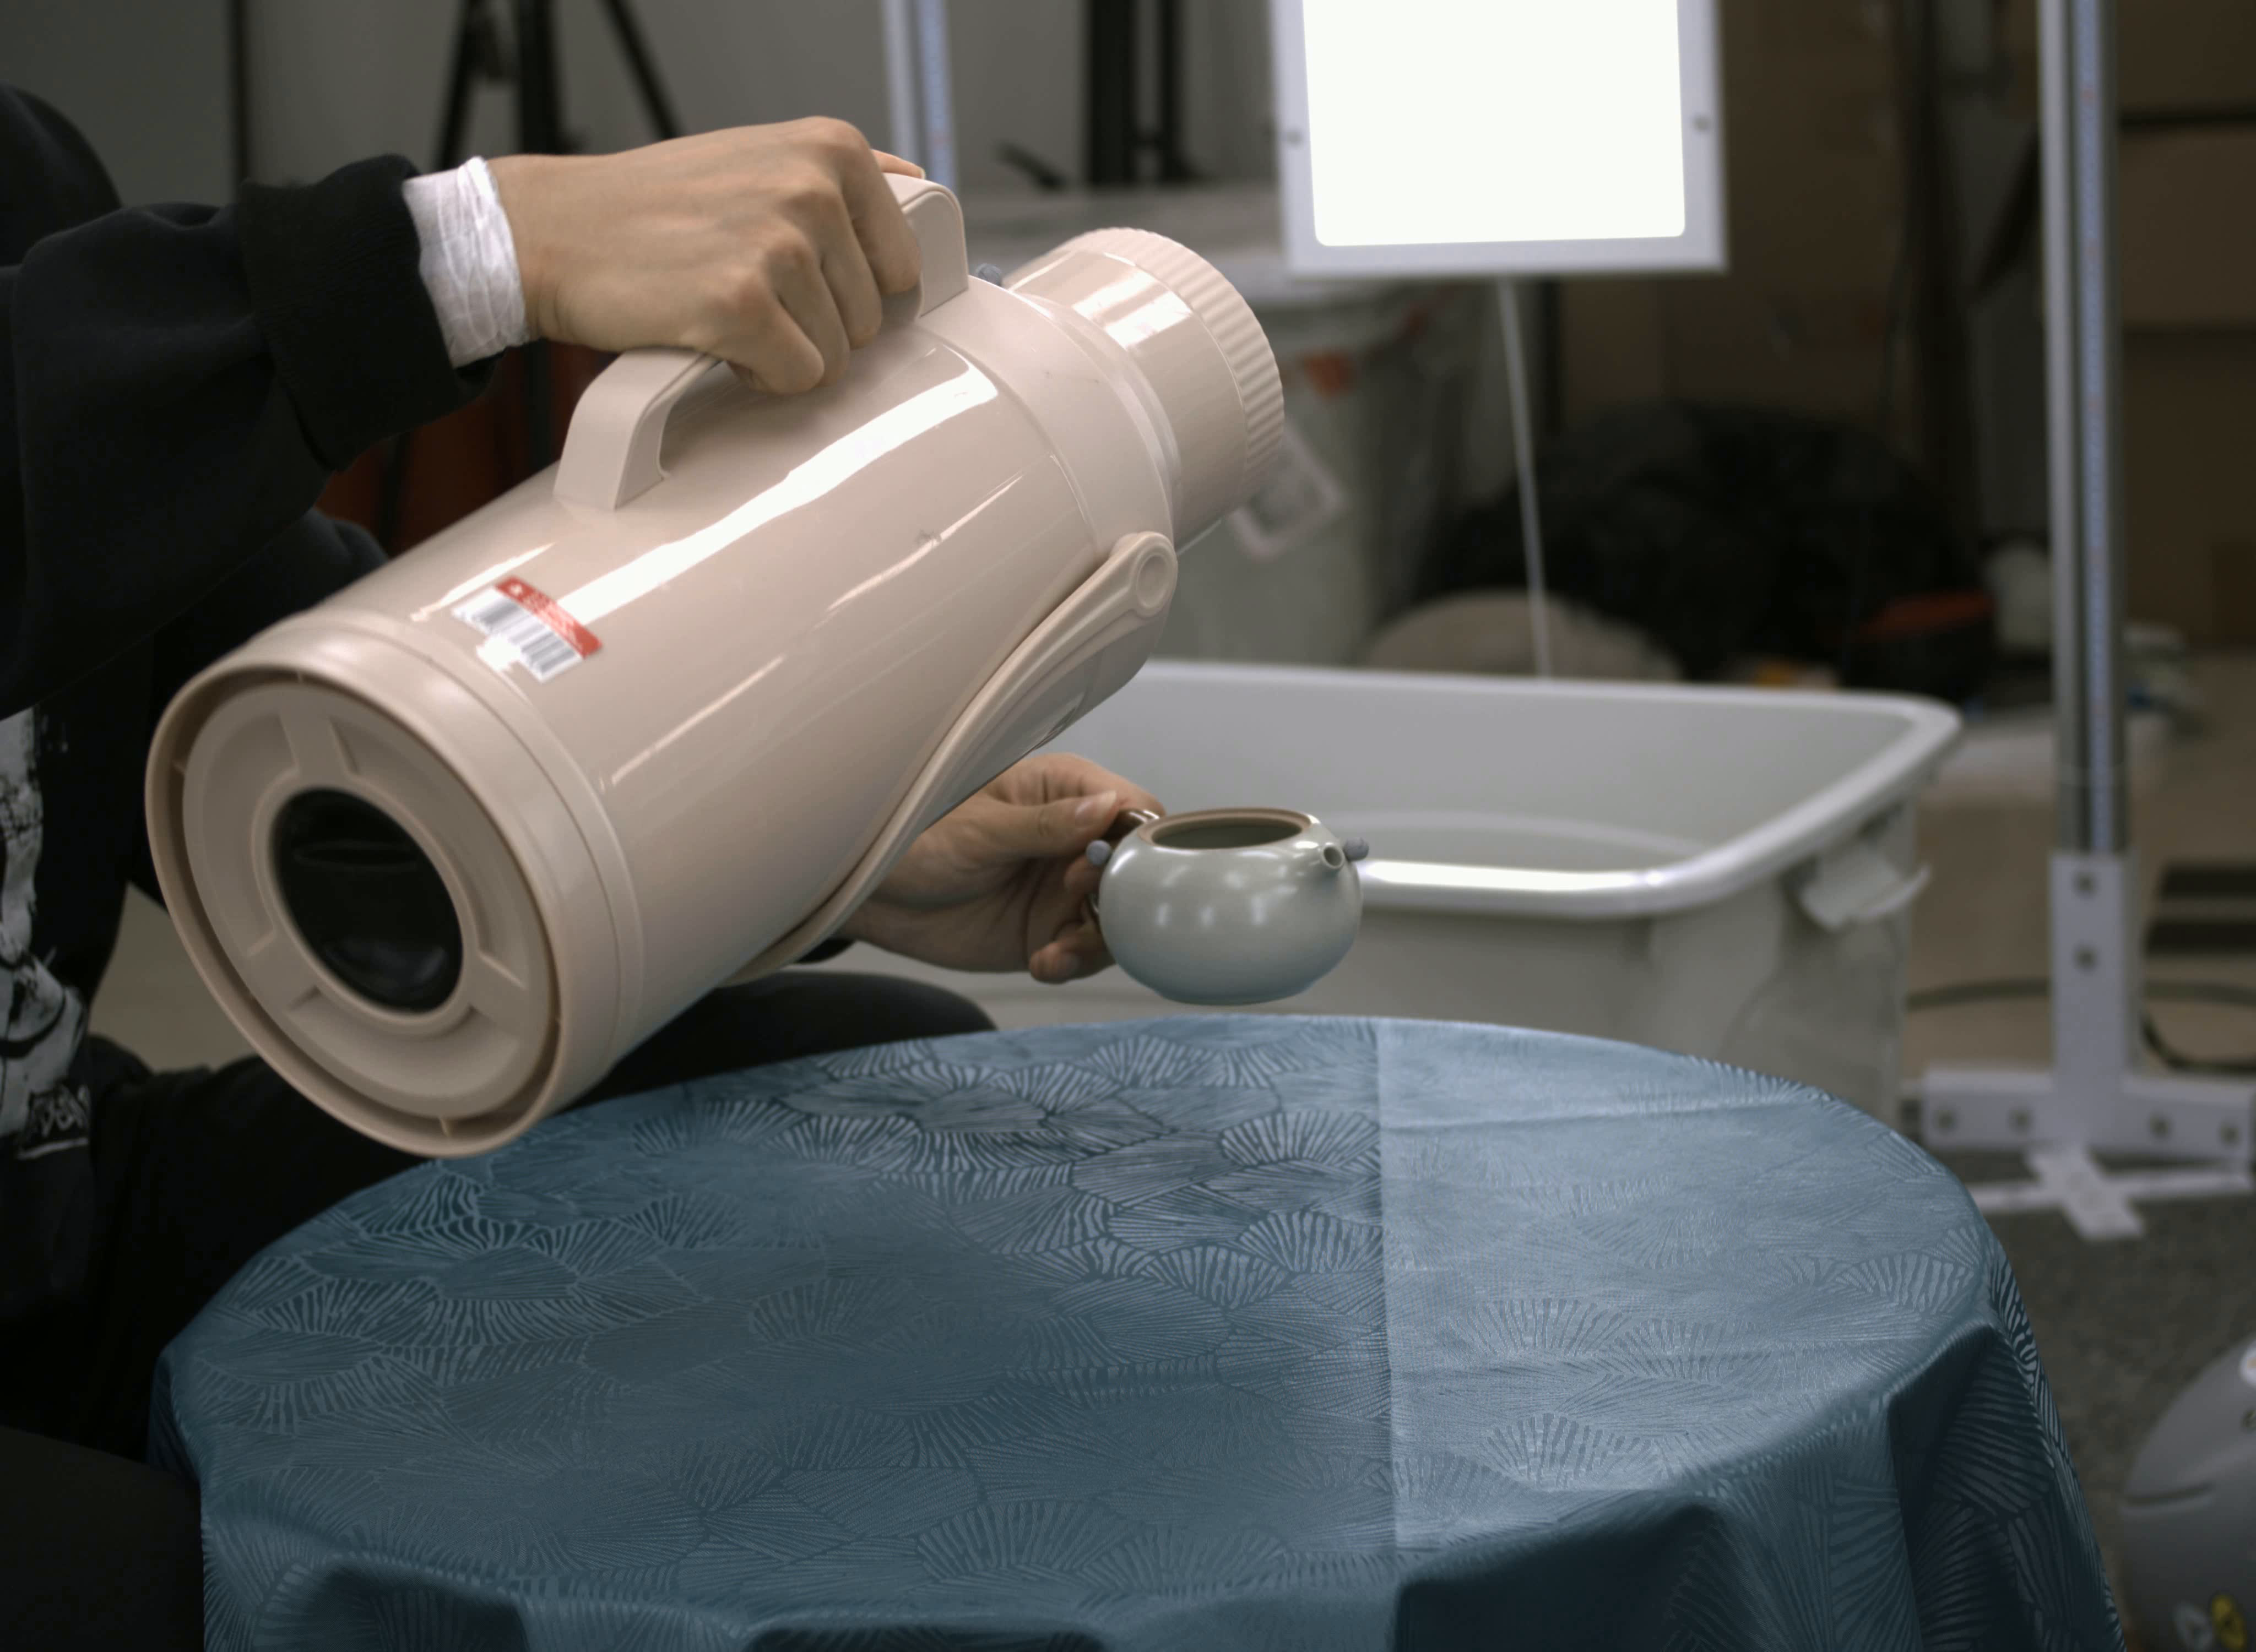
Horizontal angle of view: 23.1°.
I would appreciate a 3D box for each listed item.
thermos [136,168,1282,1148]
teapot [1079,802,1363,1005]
[{"bbox_3d":[-0.110,-0.076,1.682,0.178,0.208,0.397,18,37,34],"label":"thermos"},{"bbox_3d":[0.029,0.025,1.912,0.089,0.060,0.131,-21,21,-41],"label":"teapot"}]
